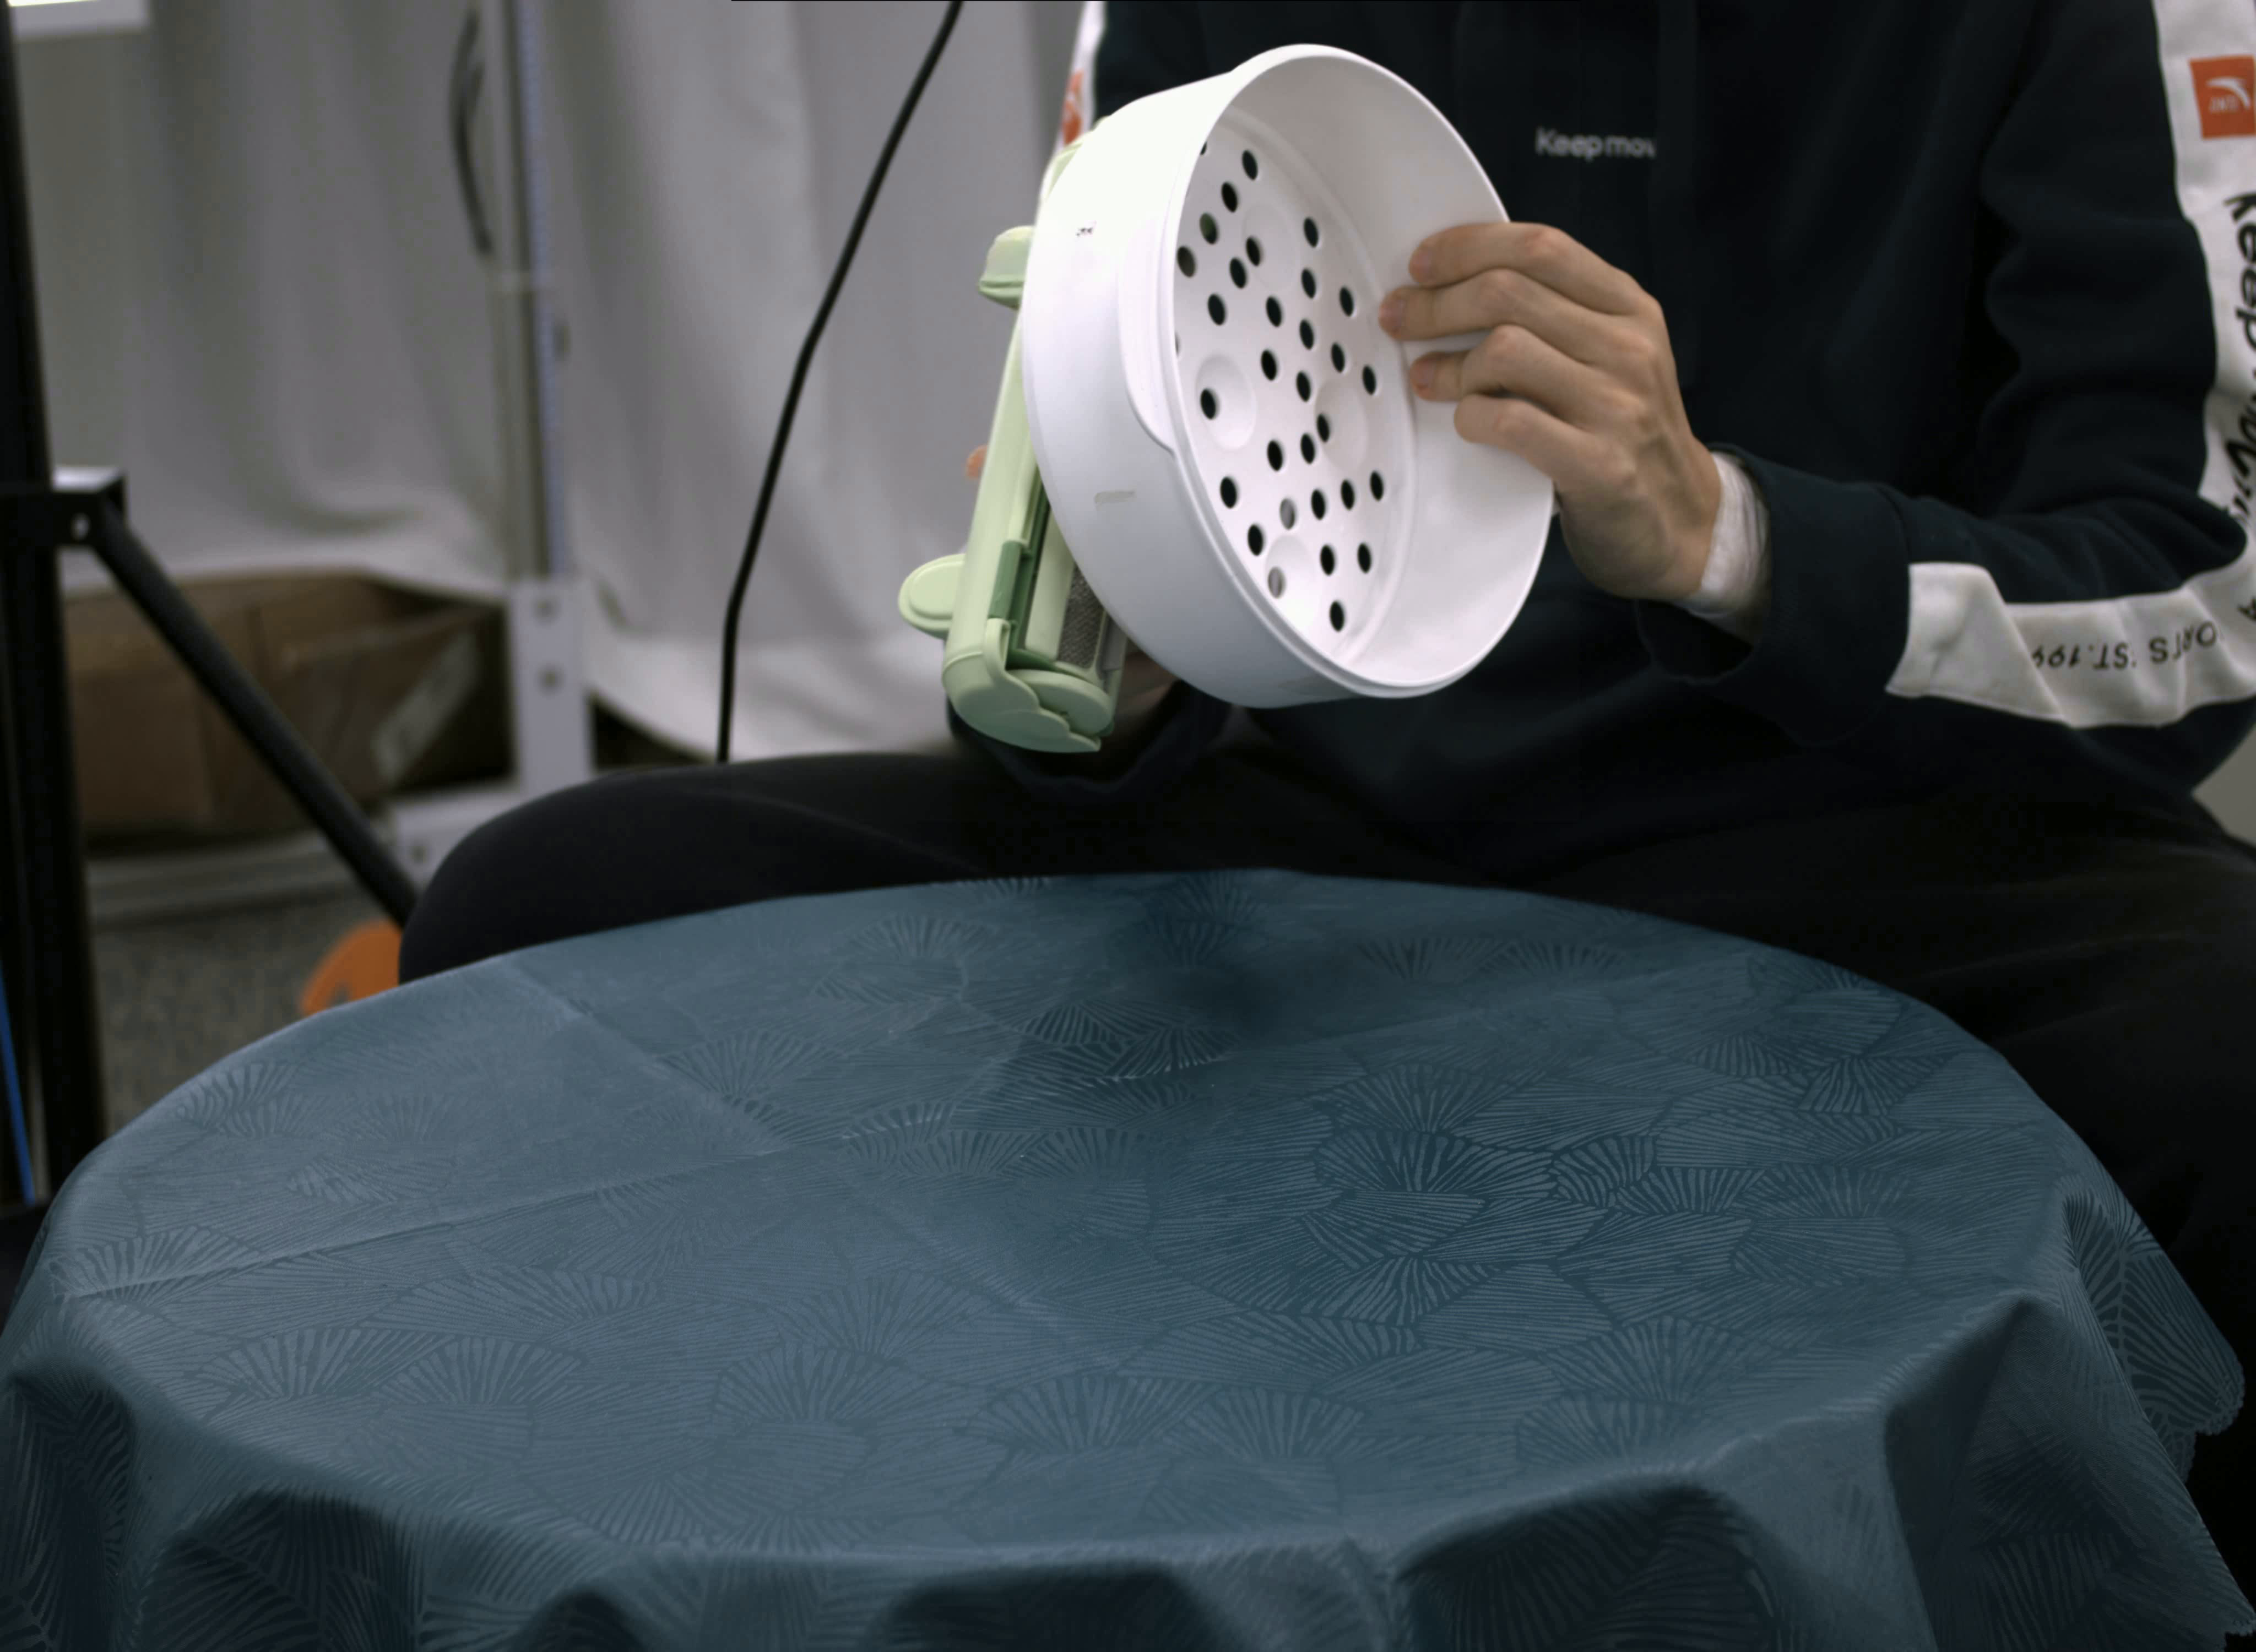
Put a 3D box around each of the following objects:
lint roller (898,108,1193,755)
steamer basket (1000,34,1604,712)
[{"bbox_3d":[-0.022,-0.101,1.697,0.082,0.200,0.182,8,-21,4],"label":"lint roller"},{"bbox_3d":[0.050,-0.134,1.625,0.224,0.203,0.070,3,-15,-43],"label":"steamer basket"}]
